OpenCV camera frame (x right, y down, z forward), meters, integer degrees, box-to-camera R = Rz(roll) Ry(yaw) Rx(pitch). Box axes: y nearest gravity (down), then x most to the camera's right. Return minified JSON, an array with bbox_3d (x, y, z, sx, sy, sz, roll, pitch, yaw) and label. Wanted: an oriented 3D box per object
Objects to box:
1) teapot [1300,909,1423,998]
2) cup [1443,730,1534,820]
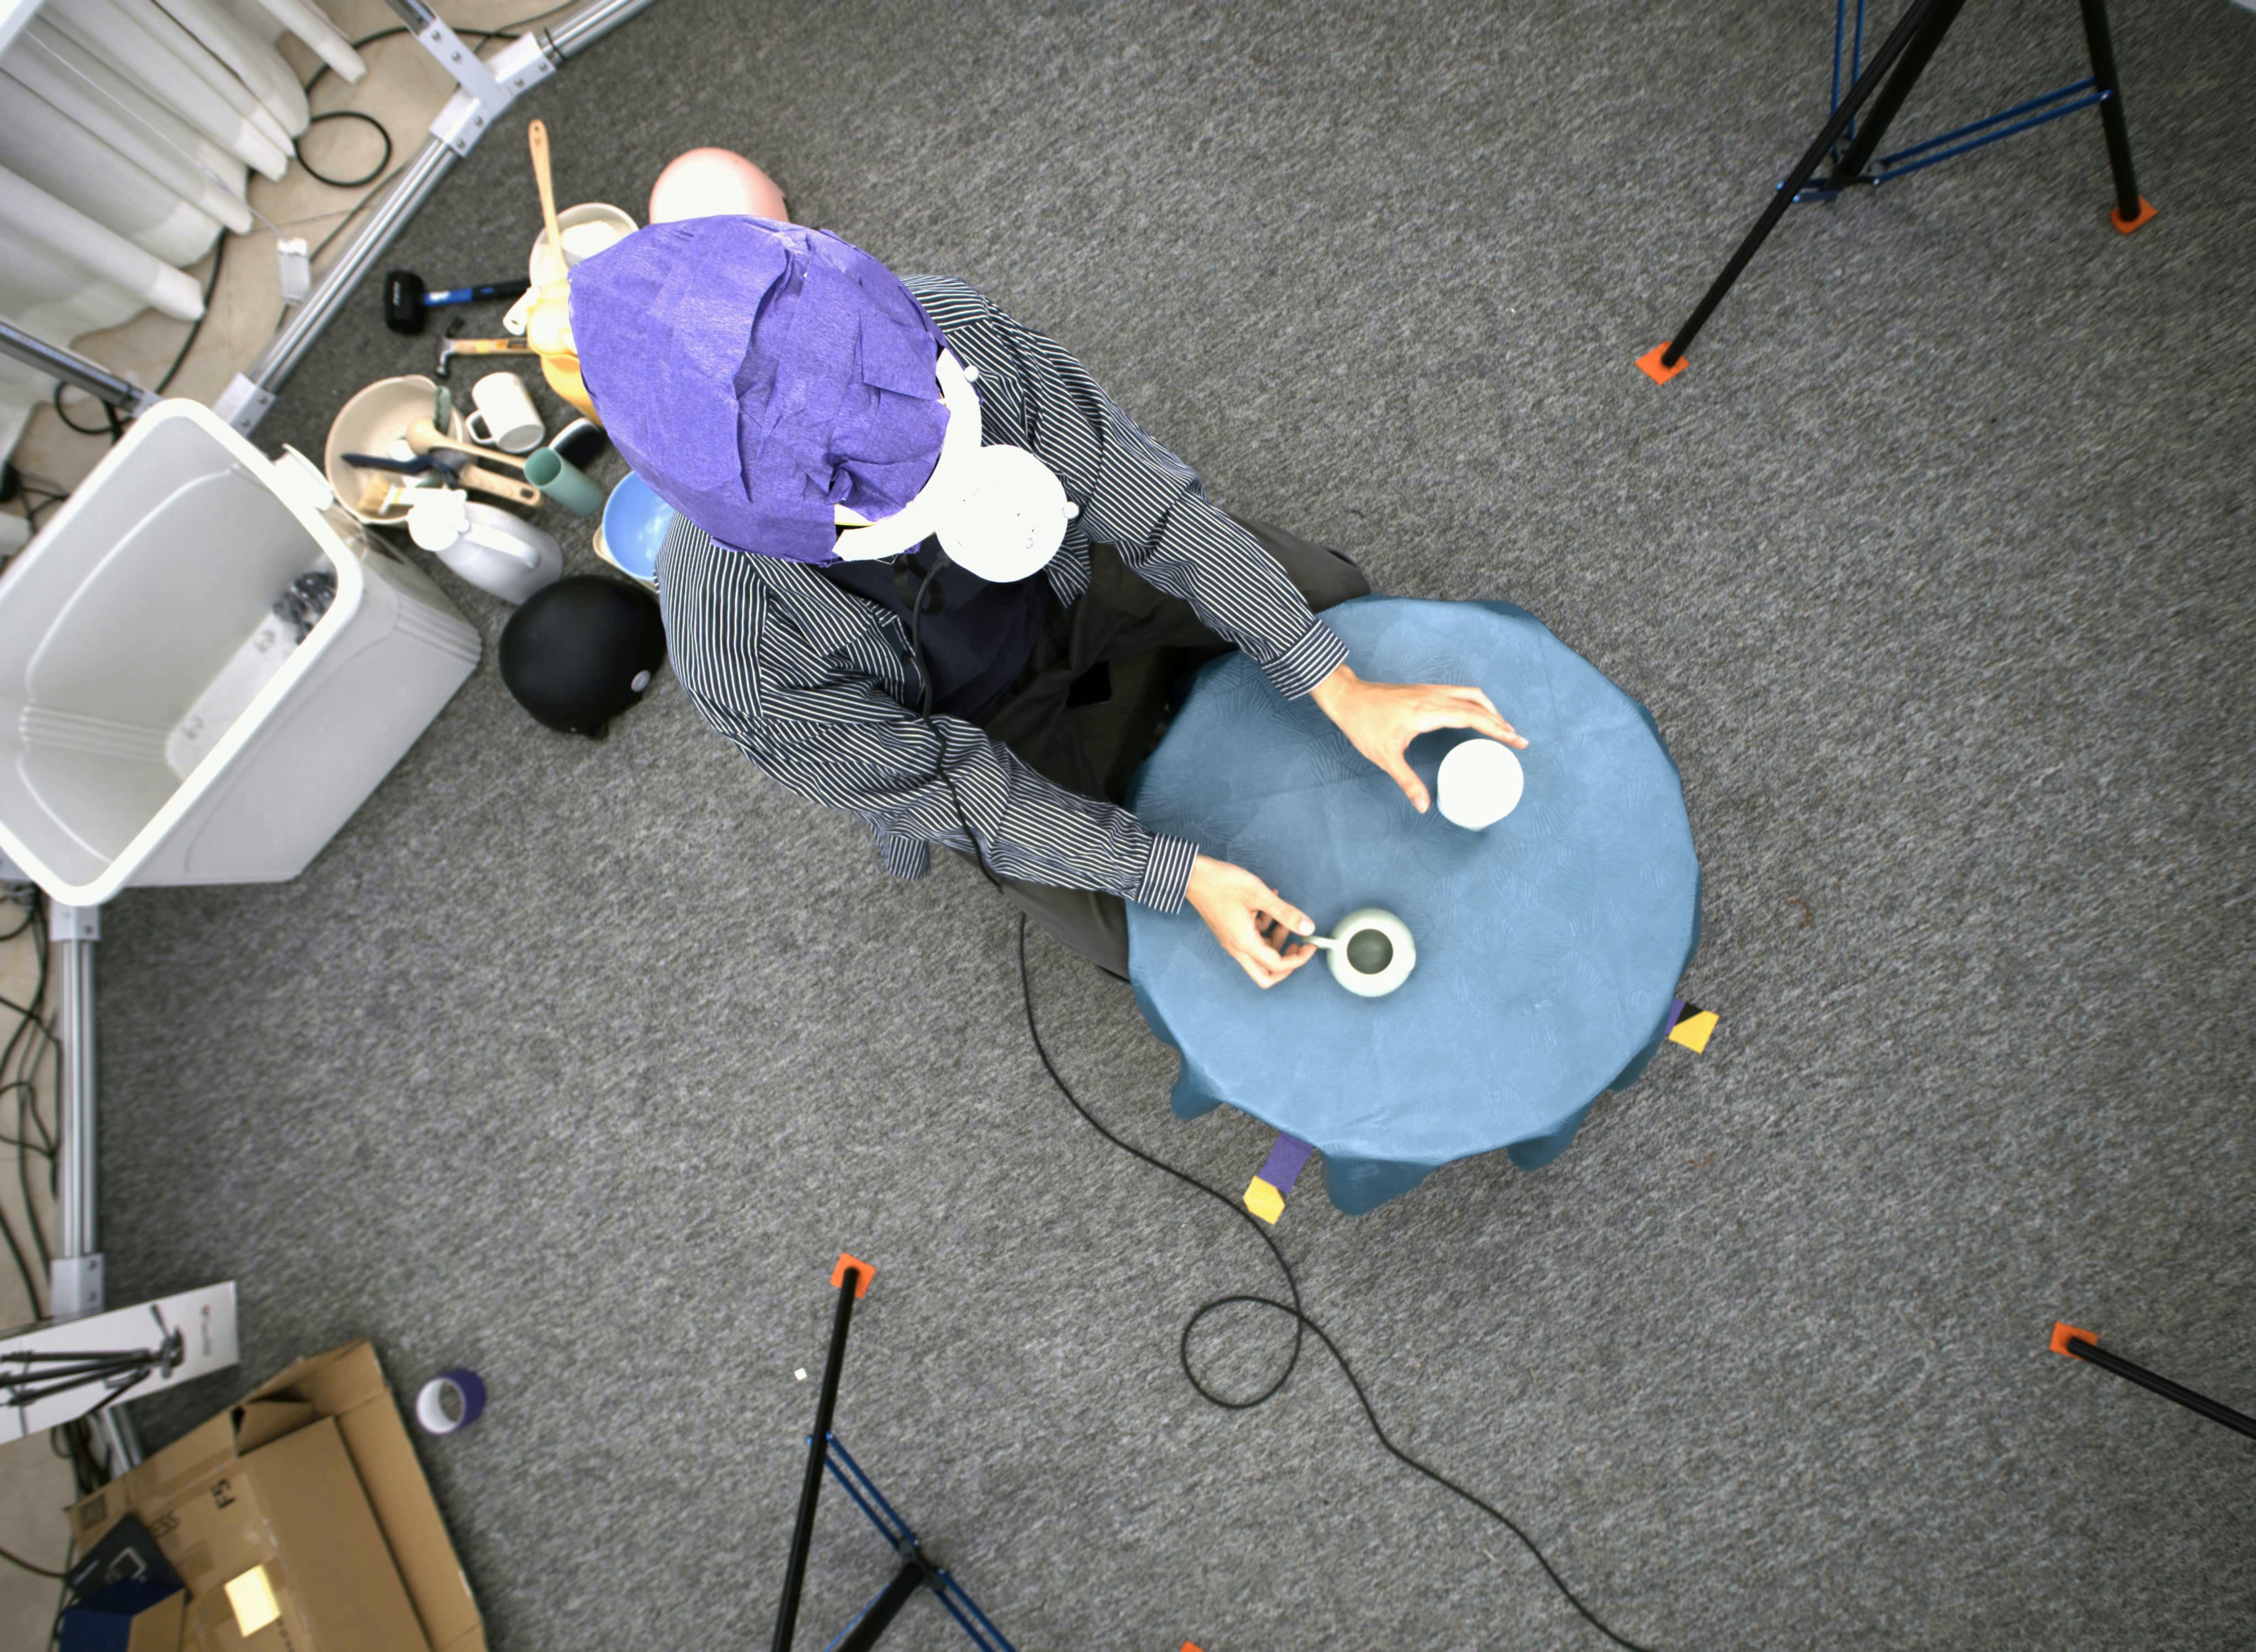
[{"bbox_3d":[0.239,0.127,1.422,0.128,0.061,0.091,14,91,10],"label":"teapot"},{"bbox_3d":[0.357,-0.049,1.372,0.082,0.125,0.081,-1,86,9],"label":"cup"}]
